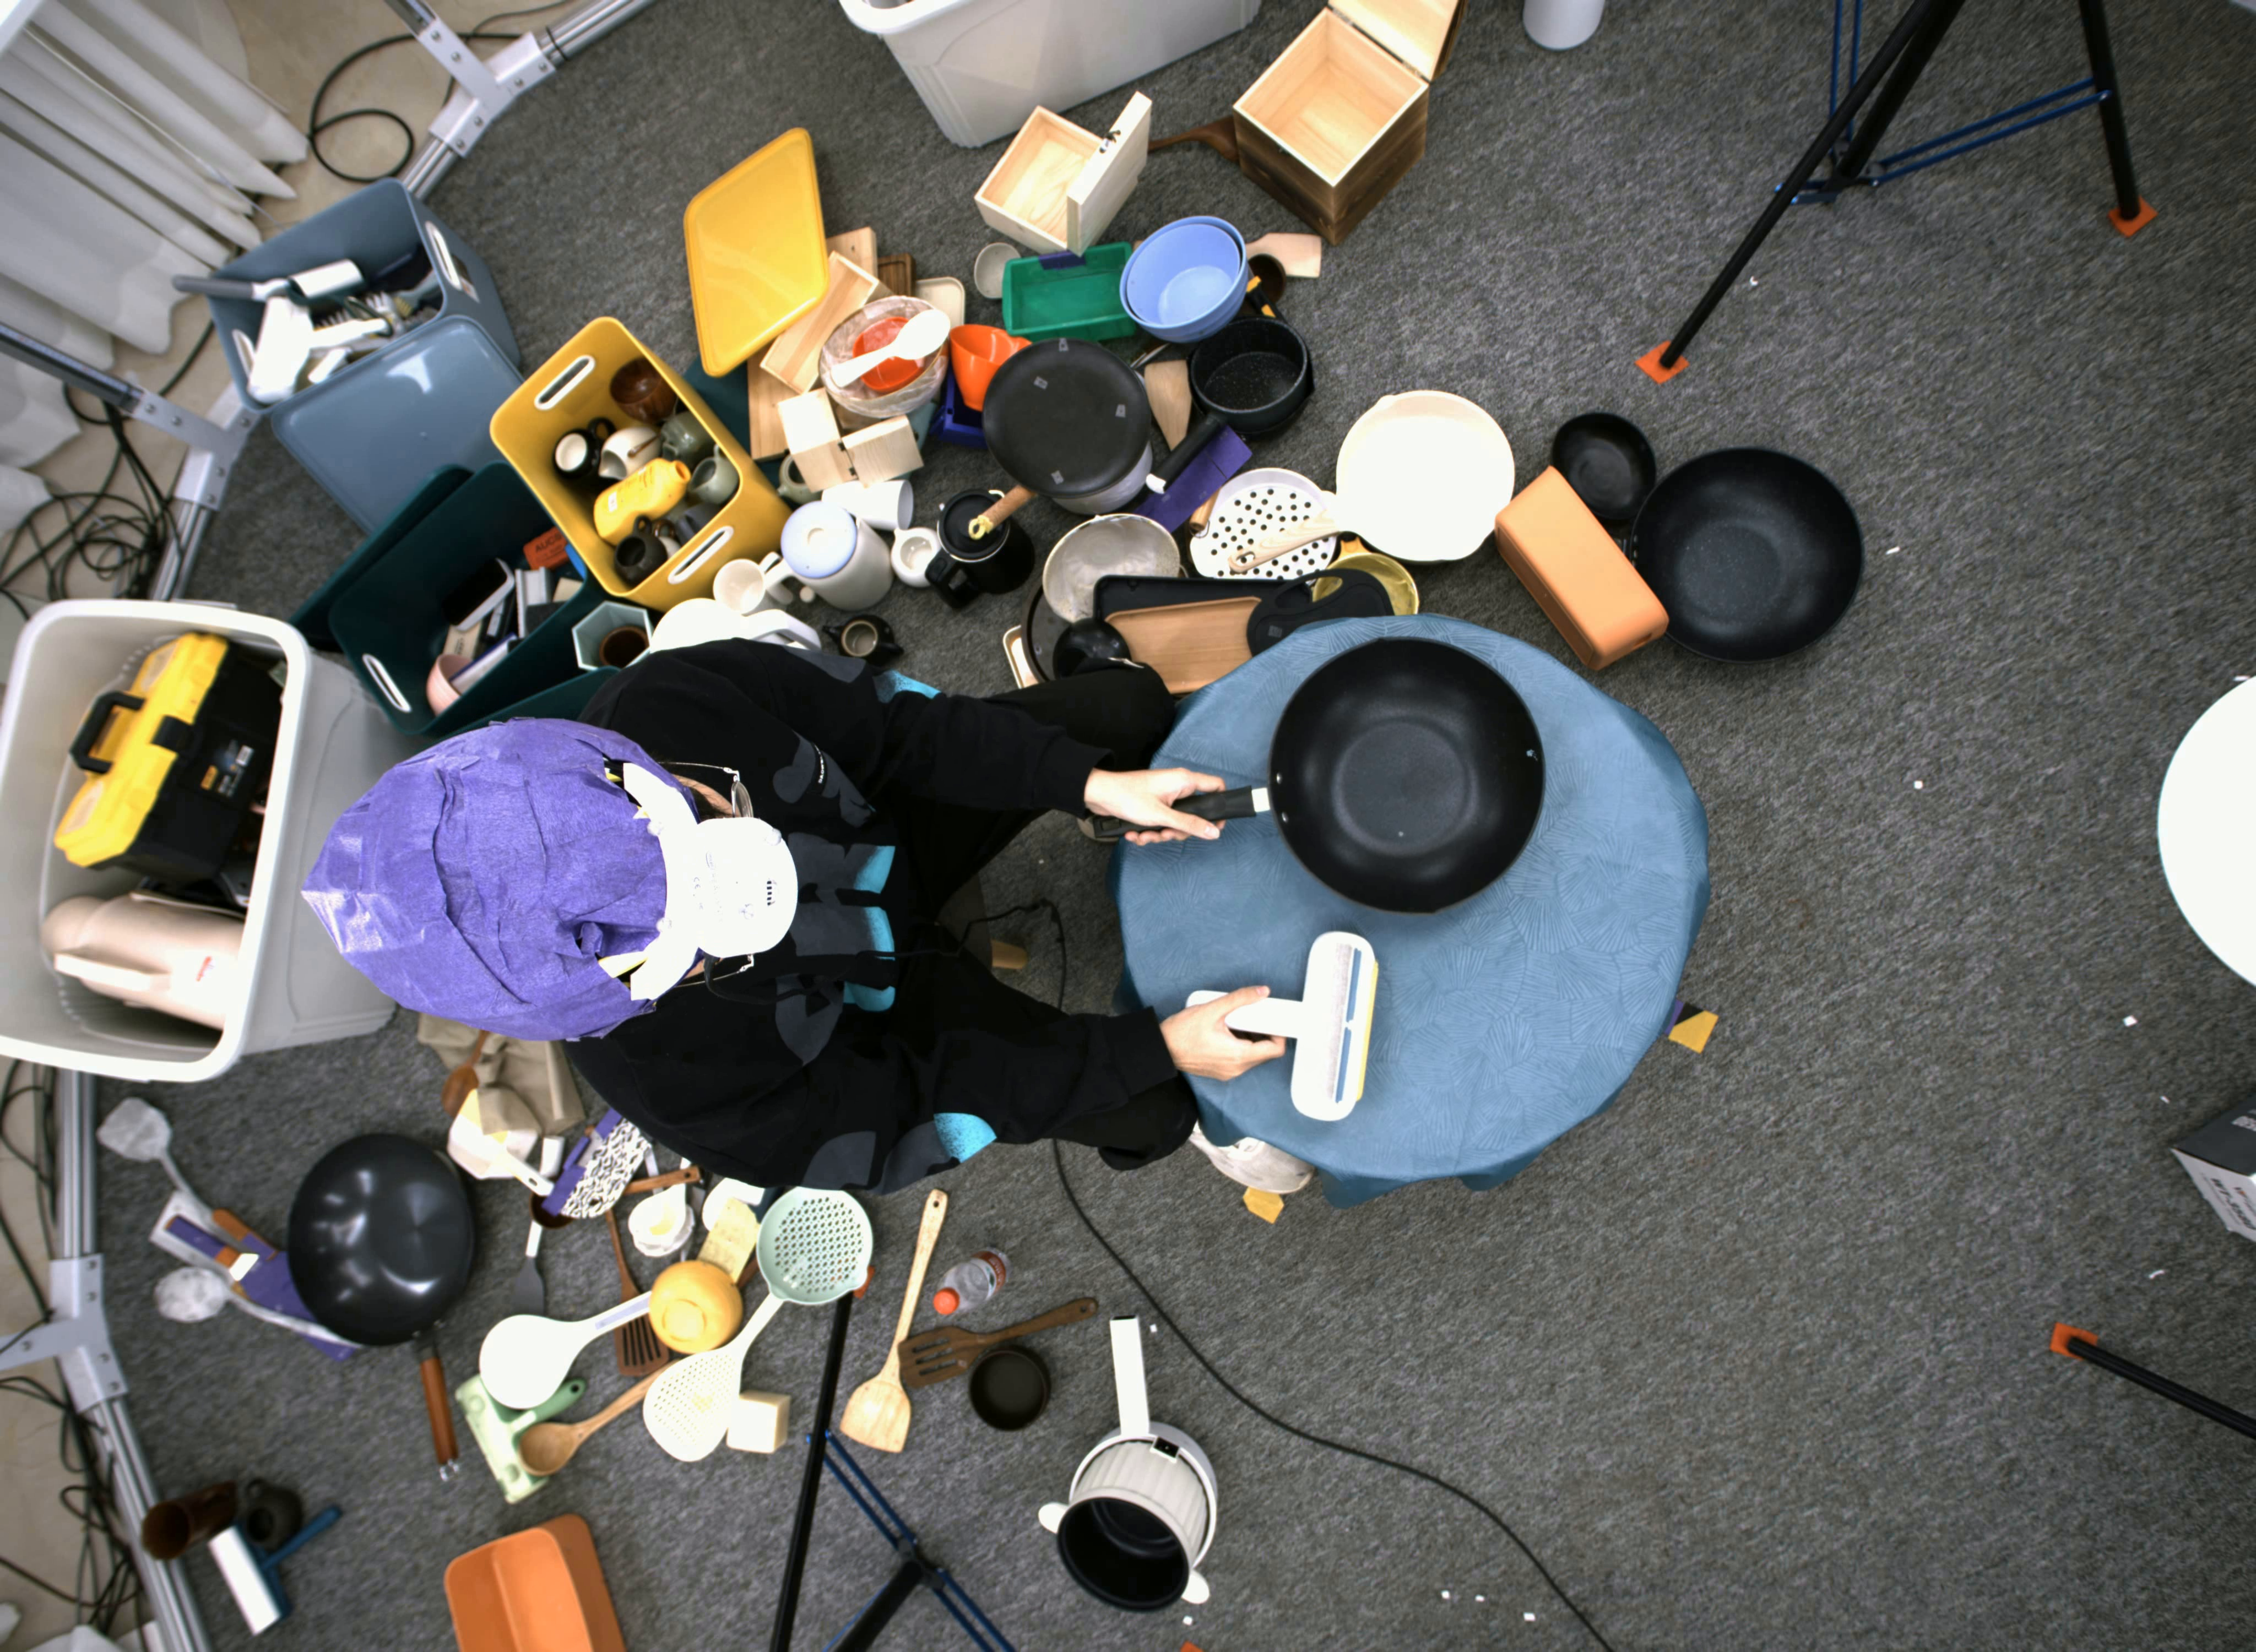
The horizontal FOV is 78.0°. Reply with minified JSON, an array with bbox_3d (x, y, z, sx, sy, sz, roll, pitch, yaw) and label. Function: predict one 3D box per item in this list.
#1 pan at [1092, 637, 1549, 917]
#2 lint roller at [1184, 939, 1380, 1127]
[{"bbox_3d":[0.196,-0.034,1.432,0.466,0.087,0.286,-10,85,10],"label":"pan"},{"bbox_3d":[0.152,0.199,1.431,0.193,0.074,0.191,12,83,7],"label":"lint roller"}]
